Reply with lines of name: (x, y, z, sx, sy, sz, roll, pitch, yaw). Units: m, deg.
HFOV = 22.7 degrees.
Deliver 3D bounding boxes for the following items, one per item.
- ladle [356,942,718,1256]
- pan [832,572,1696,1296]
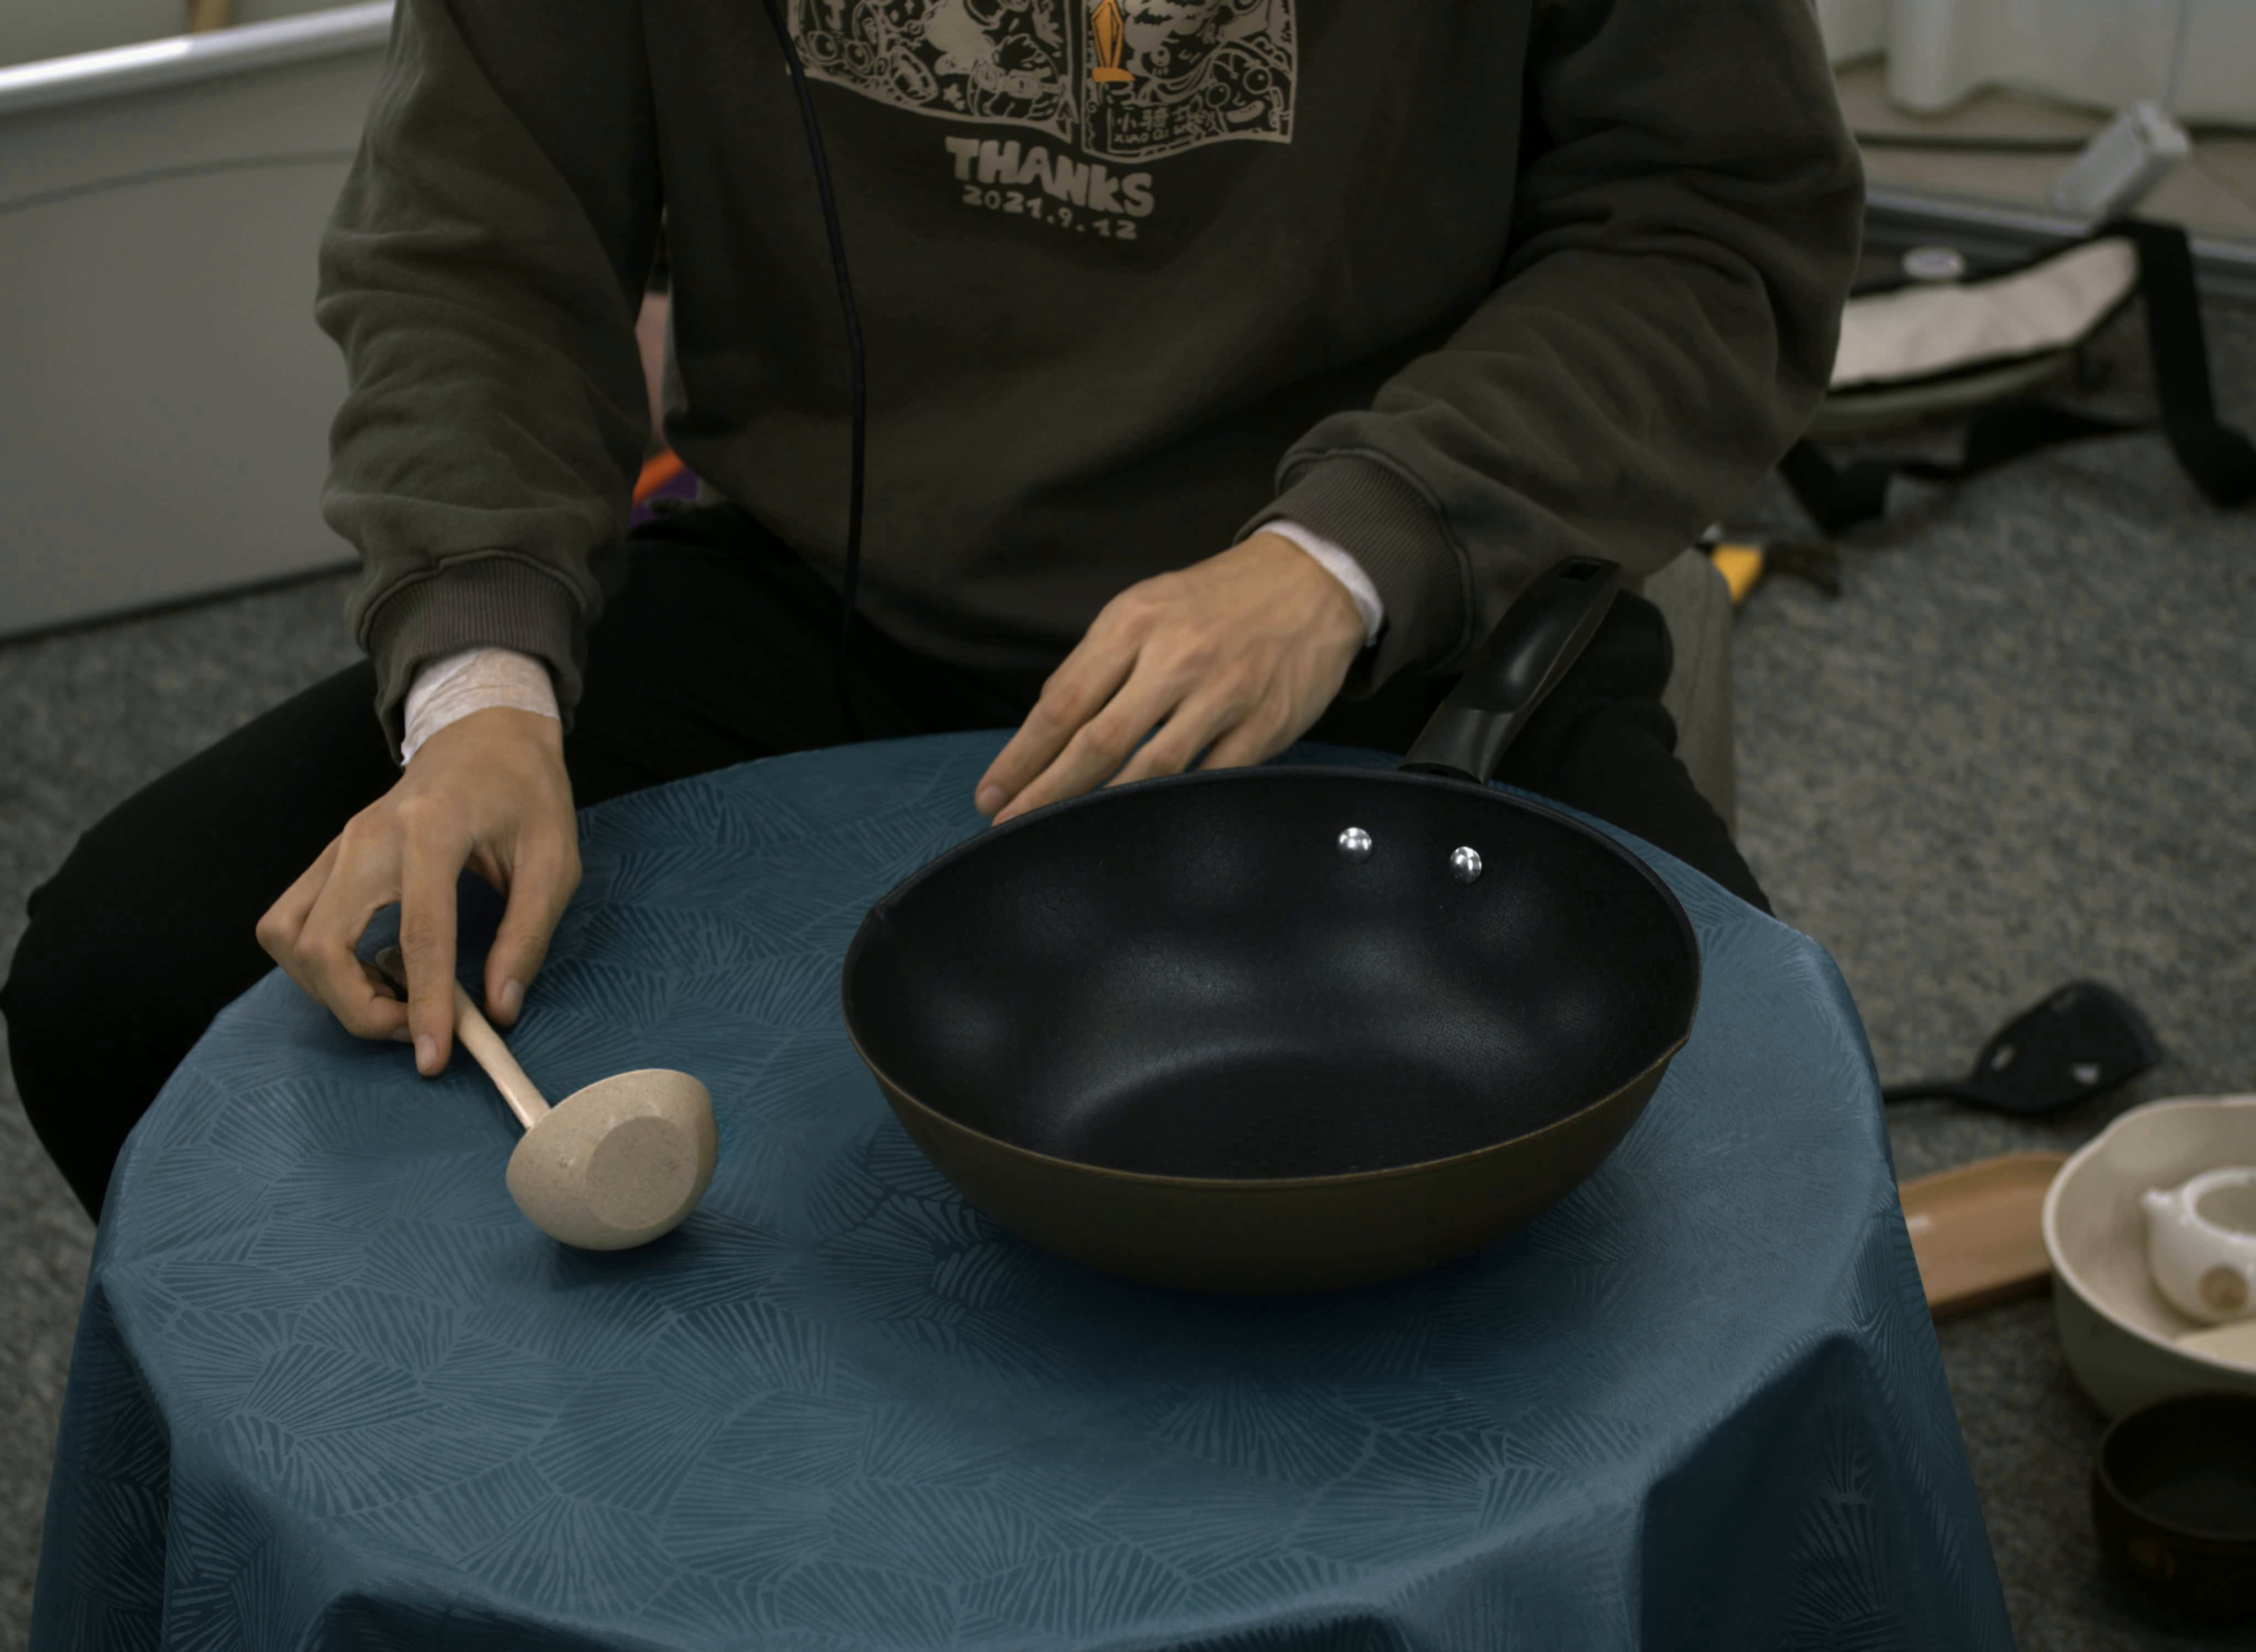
ladle: (-0.215, 0.066, 1.910, 0.072, 0.072, 0.256, -17, 32, -23)
pan: (0.082, 0.038, 1.924, 0.286, 0.086, 0.471, 9, 29, 22)
